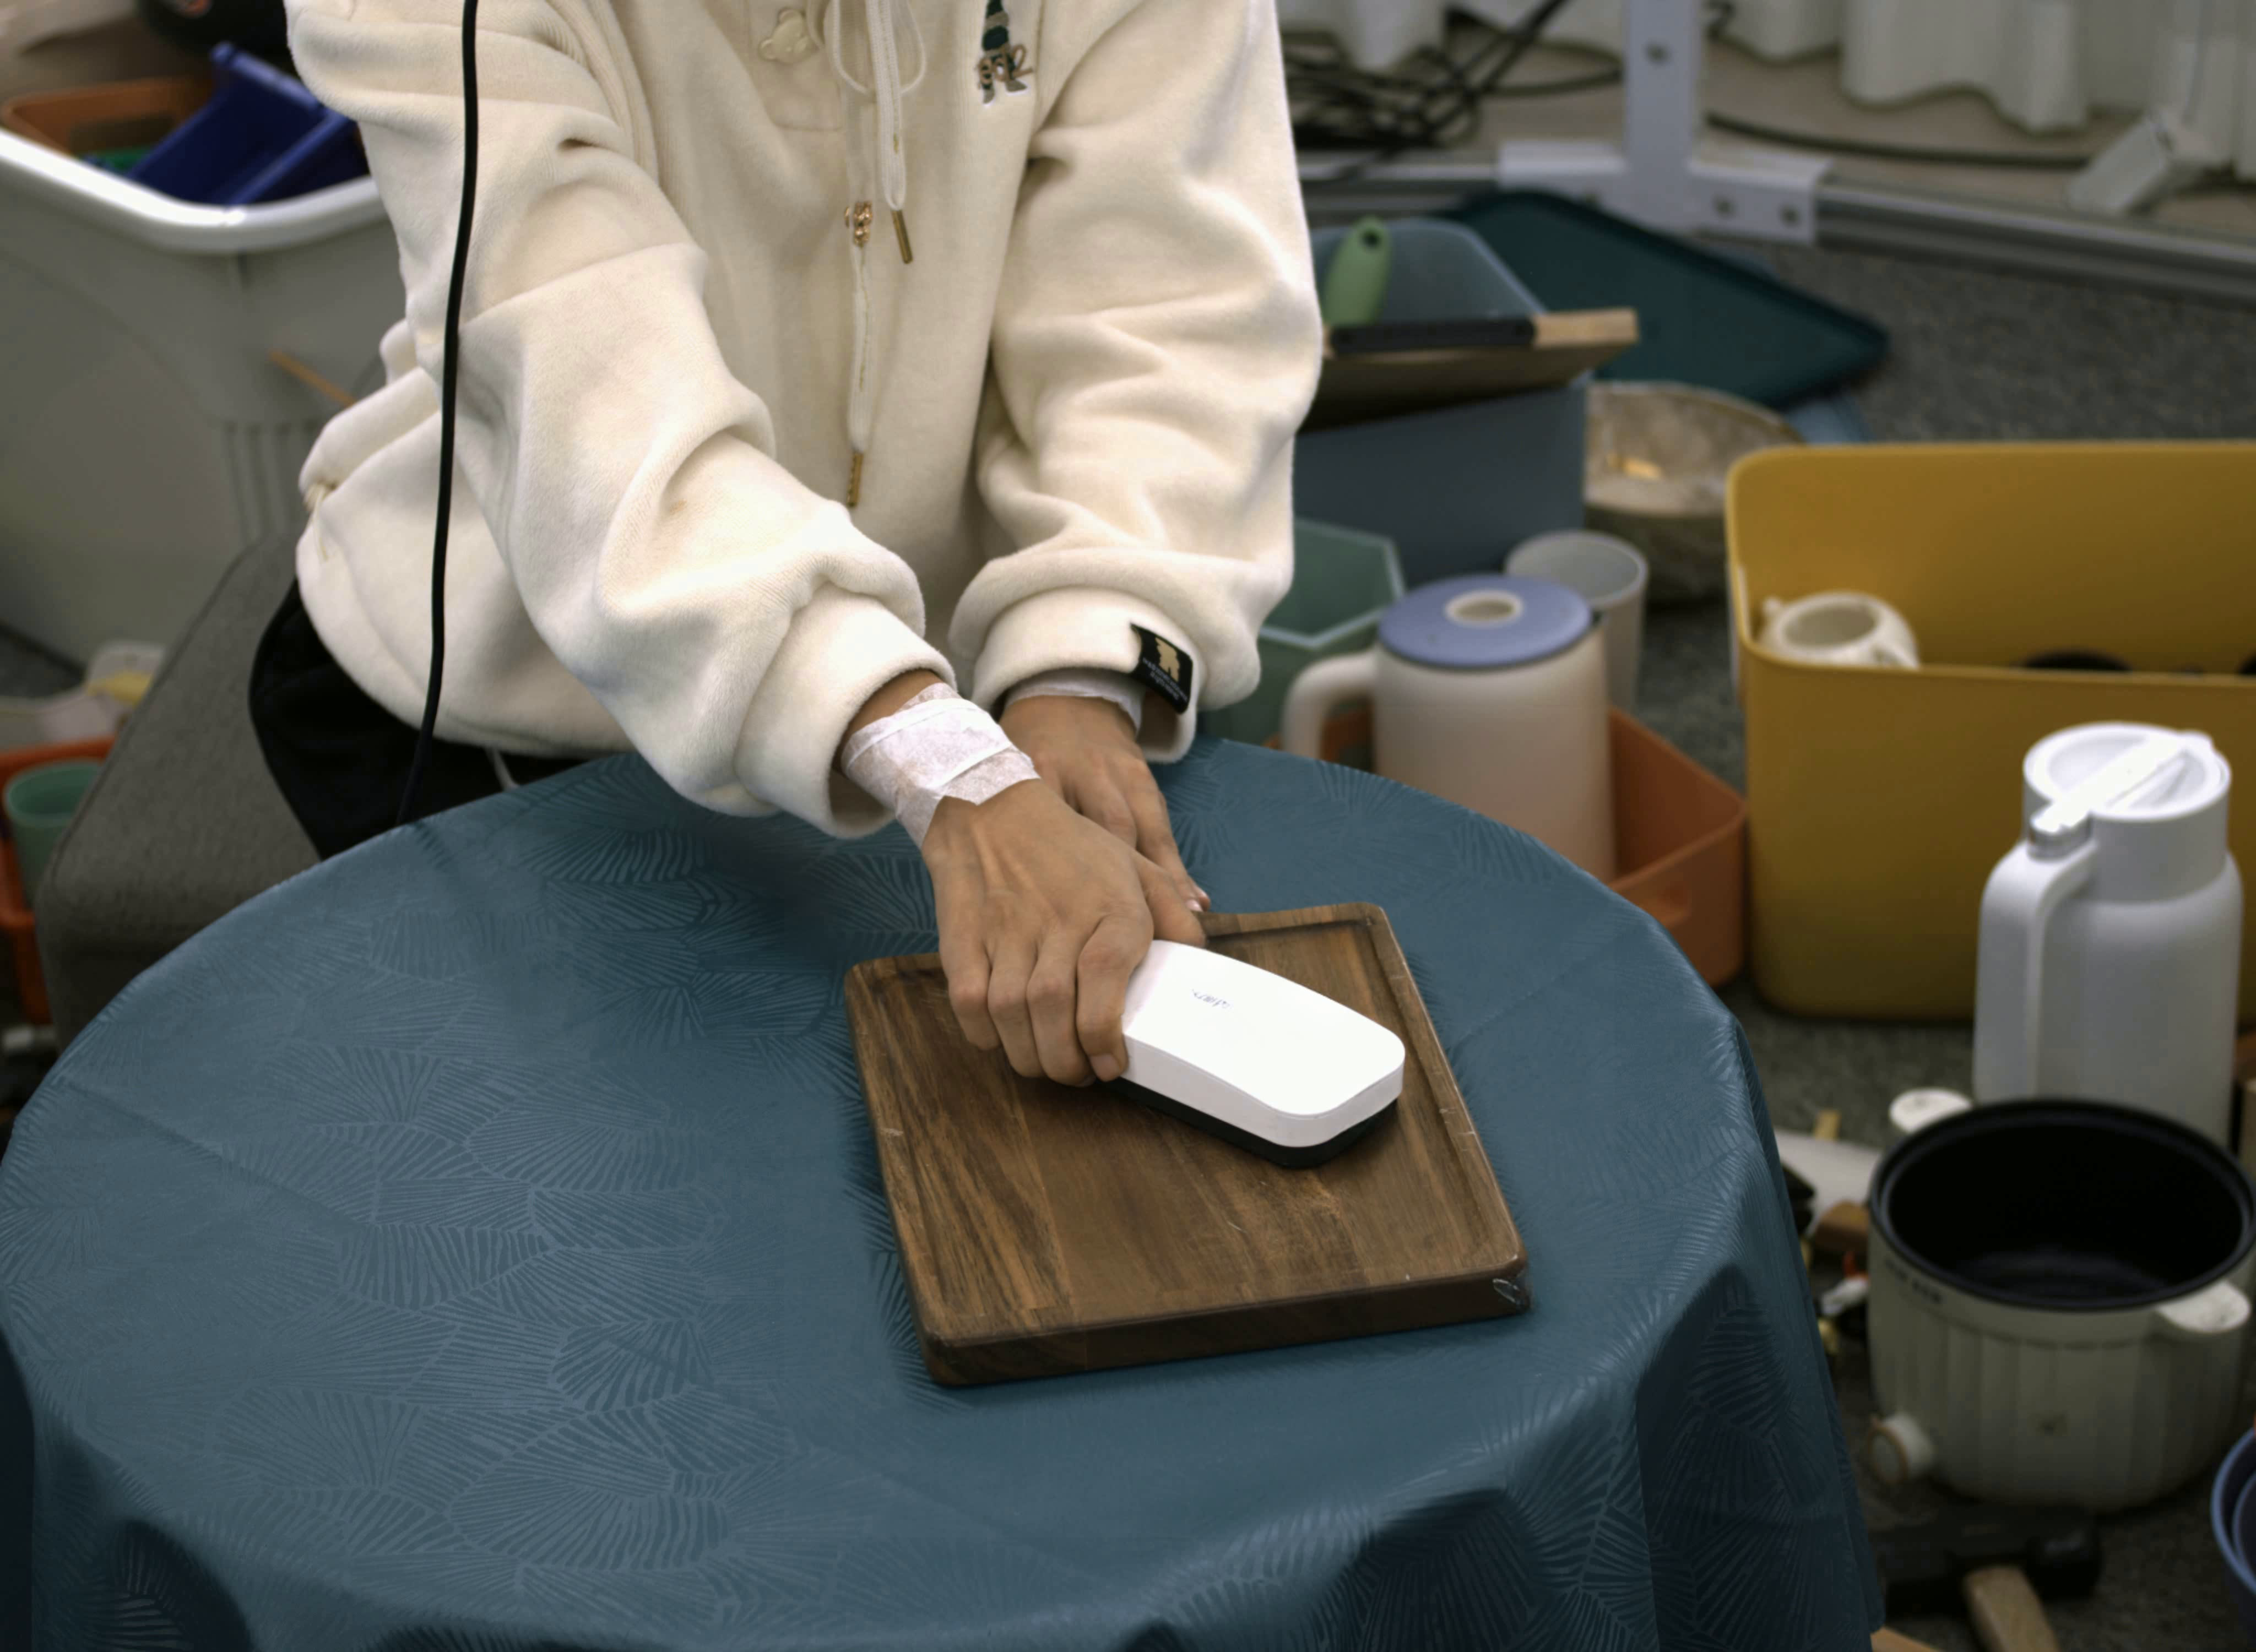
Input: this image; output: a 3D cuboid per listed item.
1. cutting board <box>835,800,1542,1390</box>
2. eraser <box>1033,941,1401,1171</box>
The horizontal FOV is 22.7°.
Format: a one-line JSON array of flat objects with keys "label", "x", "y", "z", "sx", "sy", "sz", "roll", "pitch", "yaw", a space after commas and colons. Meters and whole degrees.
[{"label": "cutting board", "x": 0.006, "y": 0.079, "z": 1.920, "sx": 0.200, "sy": 0.023, "sz": 0.356, "roll": -6, "pitch": 28, "yaw": -7}, {"label": "eraser", "x": 0.030, "y": 0.073, "z": 1.886, "sx": 0.131, "sy": 0.034, "sz": 0.064, "roll": 23, "pitch": 37, "yaw": 40}]
